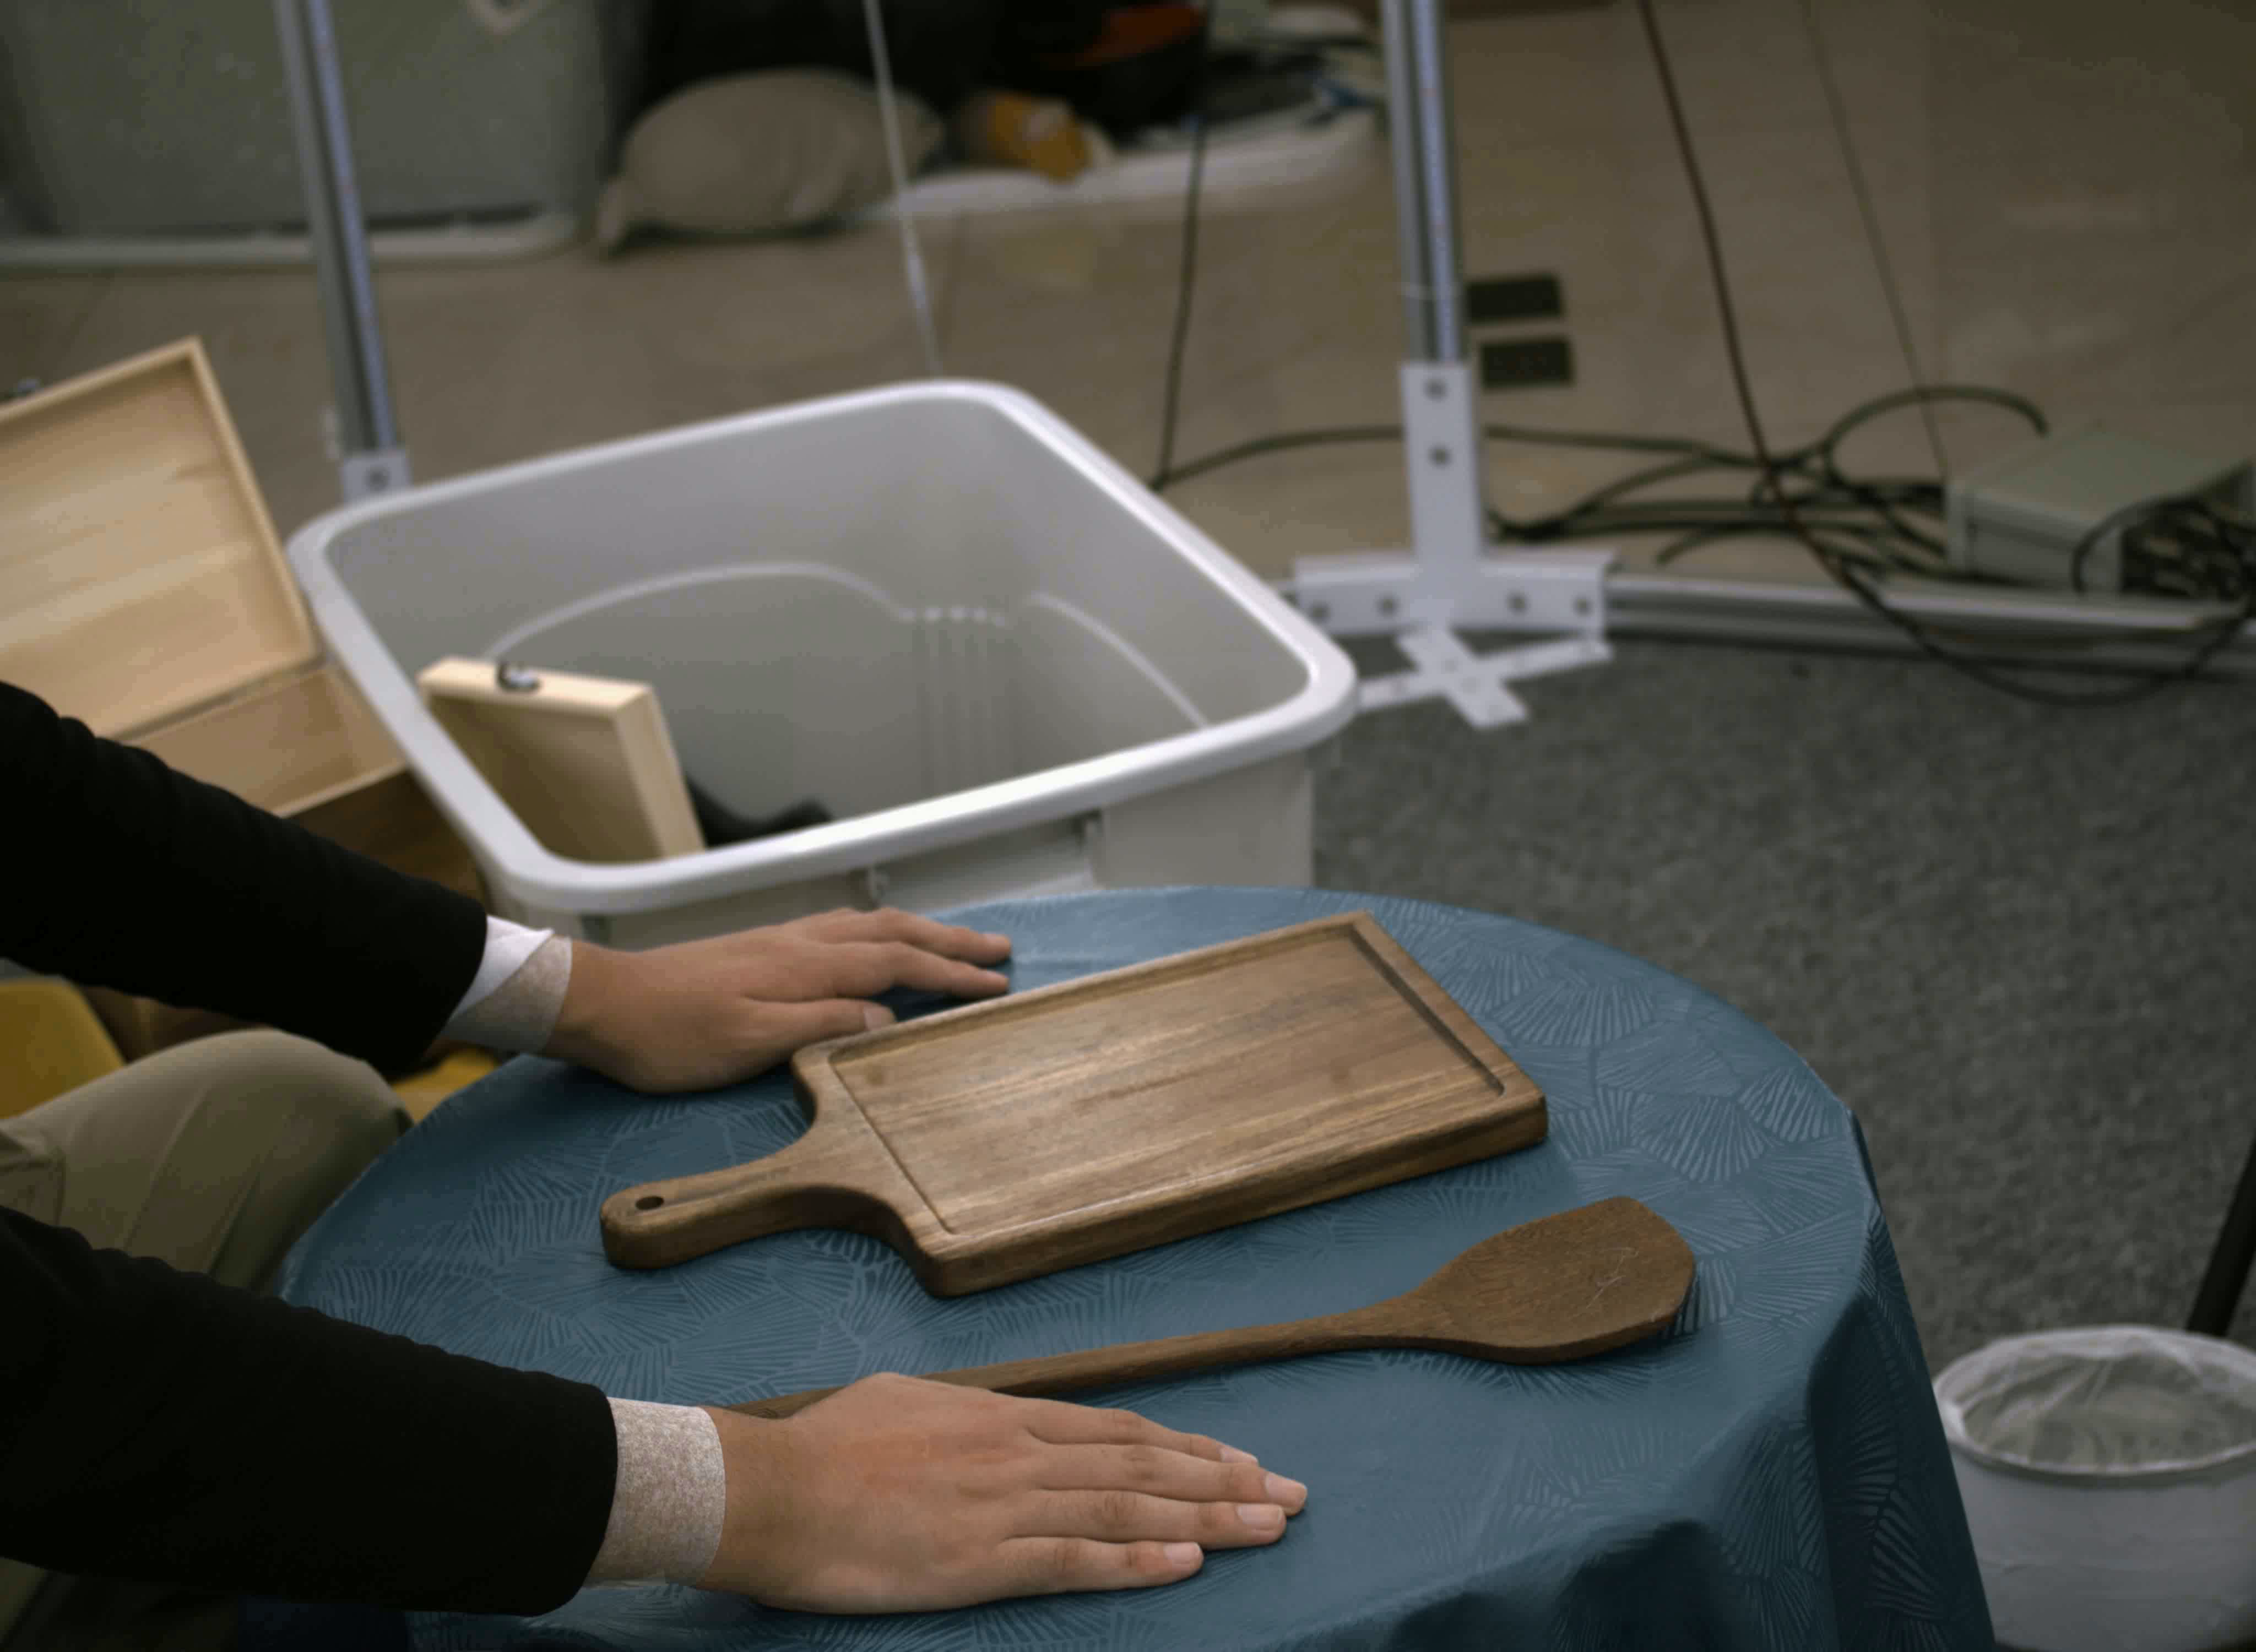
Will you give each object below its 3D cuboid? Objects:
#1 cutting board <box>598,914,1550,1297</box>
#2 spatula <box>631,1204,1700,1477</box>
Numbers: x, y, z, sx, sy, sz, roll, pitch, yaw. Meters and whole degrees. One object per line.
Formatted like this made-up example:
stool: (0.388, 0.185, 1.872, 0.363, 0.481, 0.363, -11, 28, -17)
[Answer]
cutting board: (-0.034, 0.115, 2.183, 0.351, 0.023, 0.198, -14, 26, -15)
spatula: (0.013, 0.189, 2.020, 0.385, 0.016, 0.095, -9, 25, -6)
